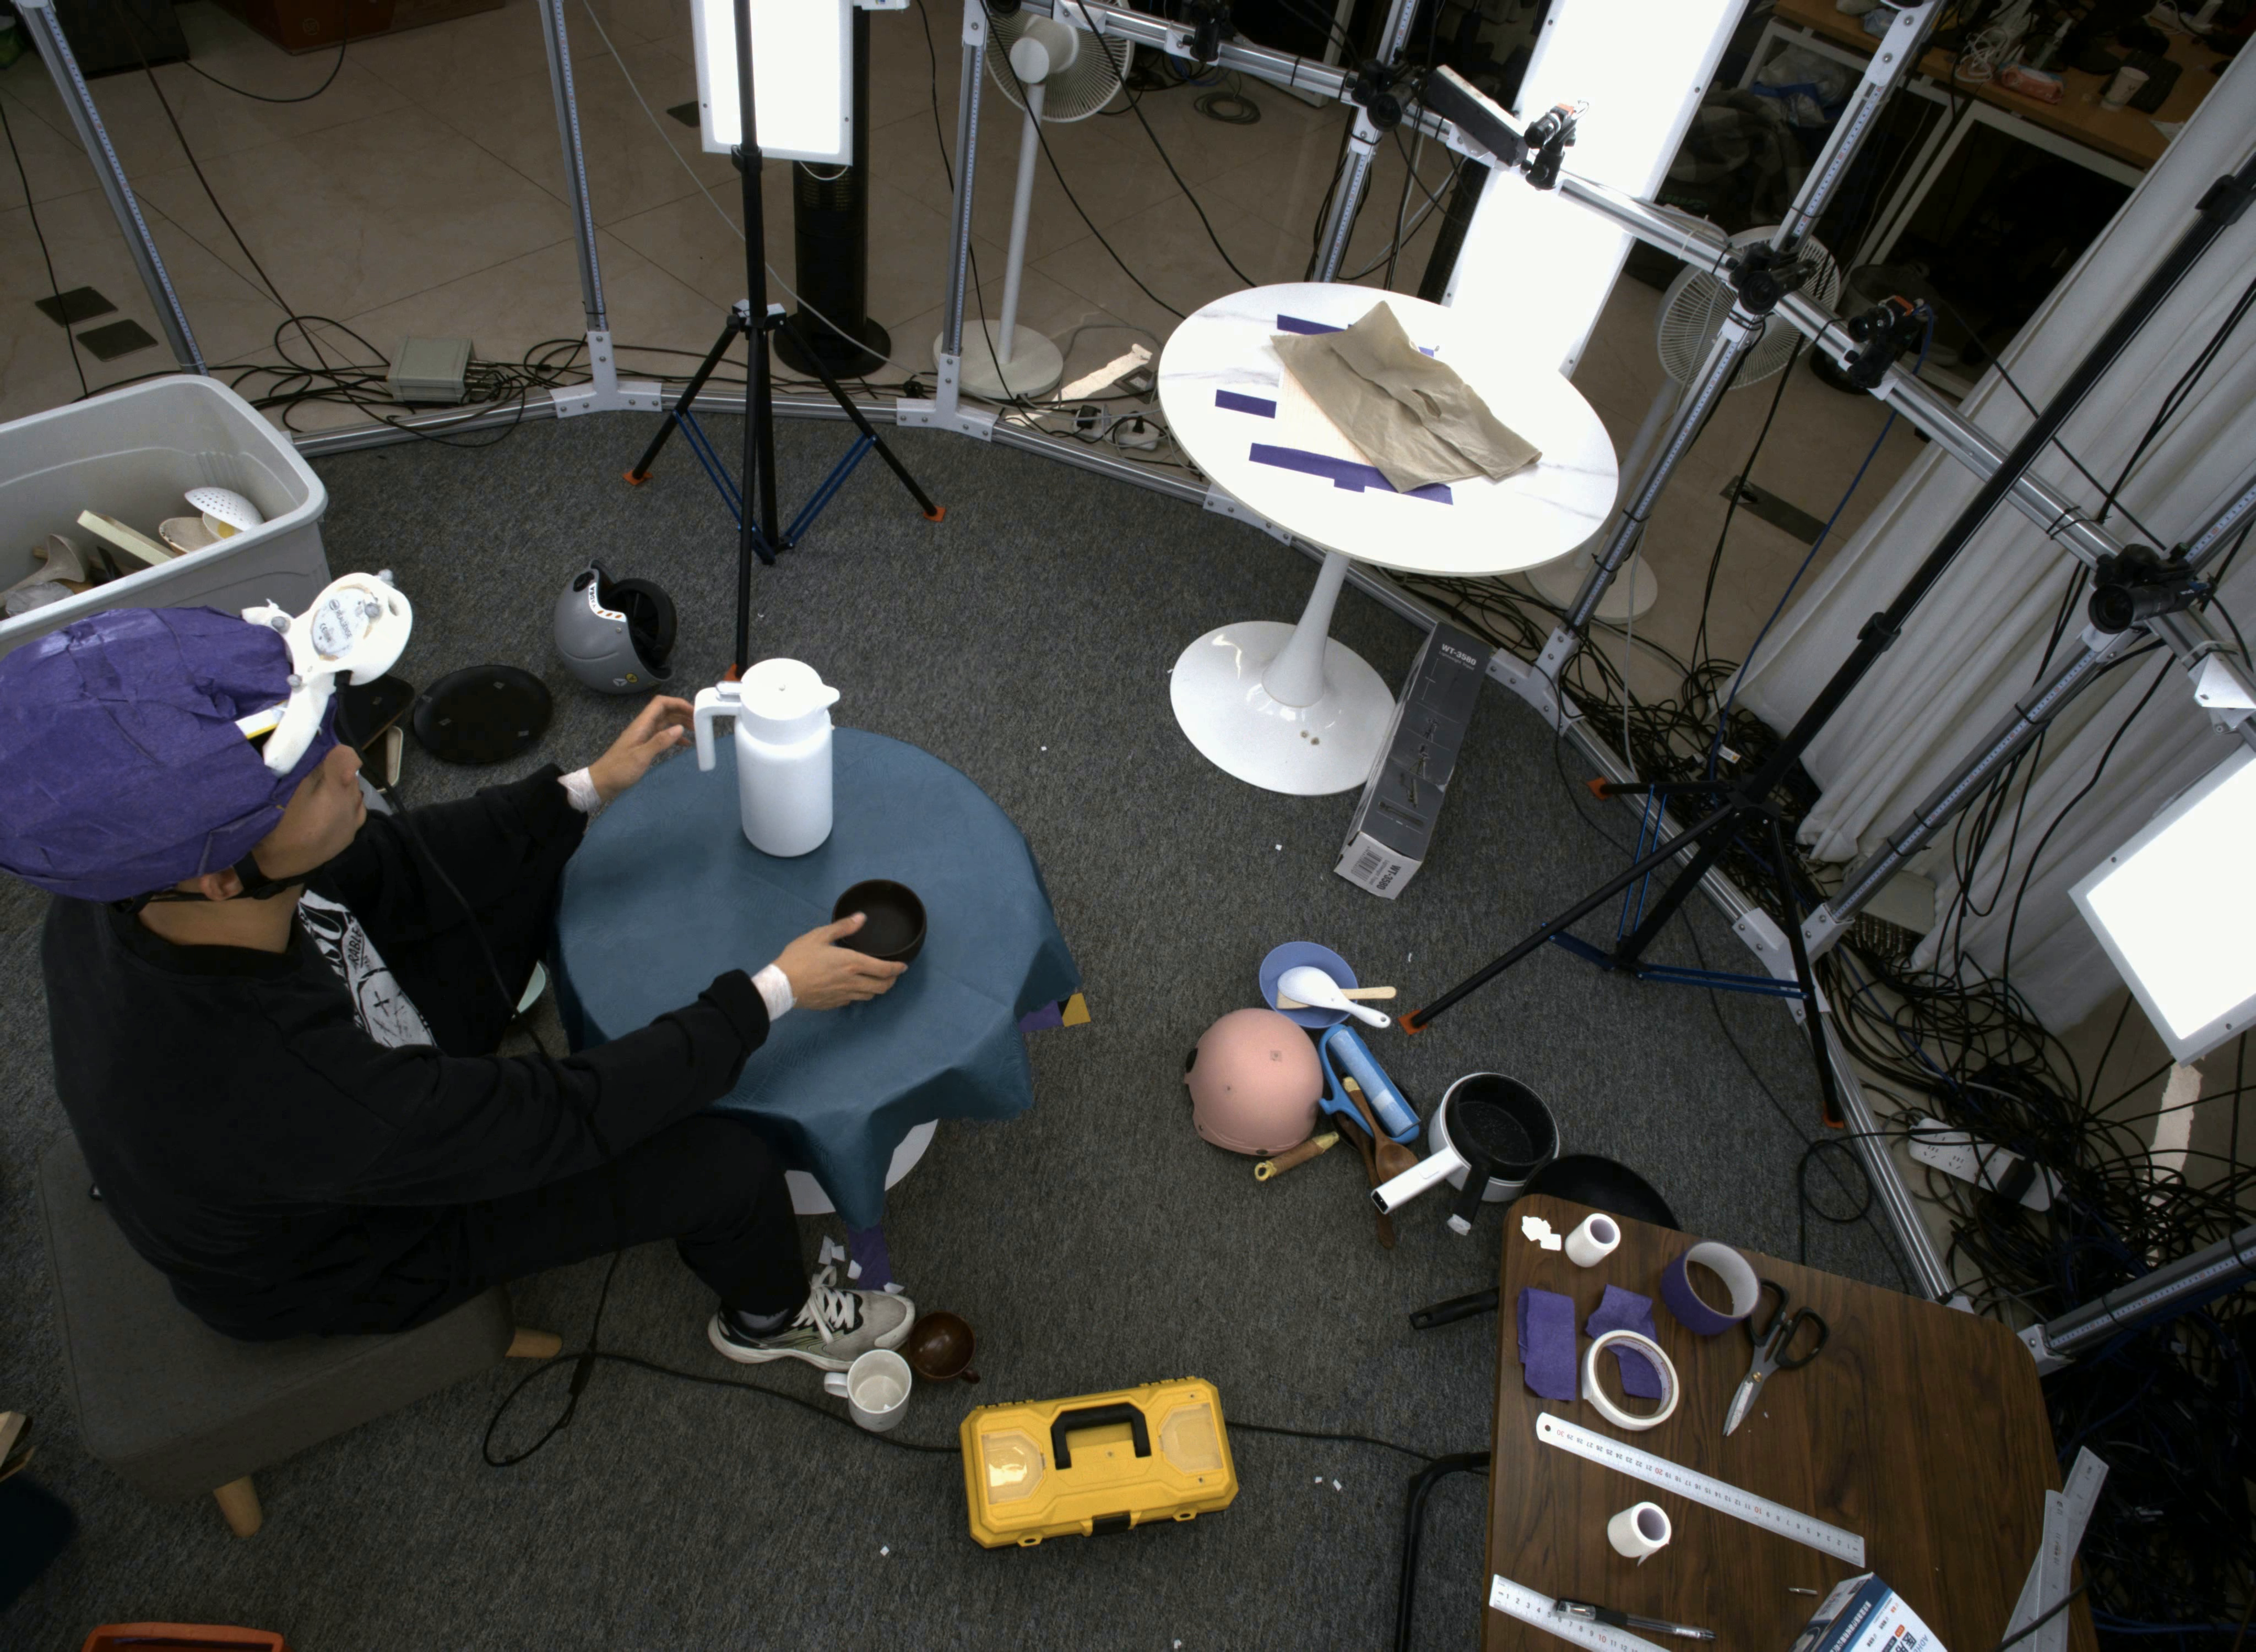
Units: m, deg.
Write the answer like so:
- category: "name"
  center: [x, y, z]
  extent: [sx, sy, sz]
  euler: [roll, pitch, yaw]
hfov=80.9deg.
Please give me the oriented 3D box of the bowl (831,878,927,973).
- category: "bowl"
  center: [-0.308, 0.129, 1.607]
  extent: [0.118, 0.071, 0.116]
  euler: [9, 51, -9]

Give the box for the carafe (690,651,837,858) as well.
- category: "carafe"
  center: [-0.447, -0.084, 1.606]
  extent: [0.173, 0.274, 0.121]
  euler: [-2, 54, -14]
